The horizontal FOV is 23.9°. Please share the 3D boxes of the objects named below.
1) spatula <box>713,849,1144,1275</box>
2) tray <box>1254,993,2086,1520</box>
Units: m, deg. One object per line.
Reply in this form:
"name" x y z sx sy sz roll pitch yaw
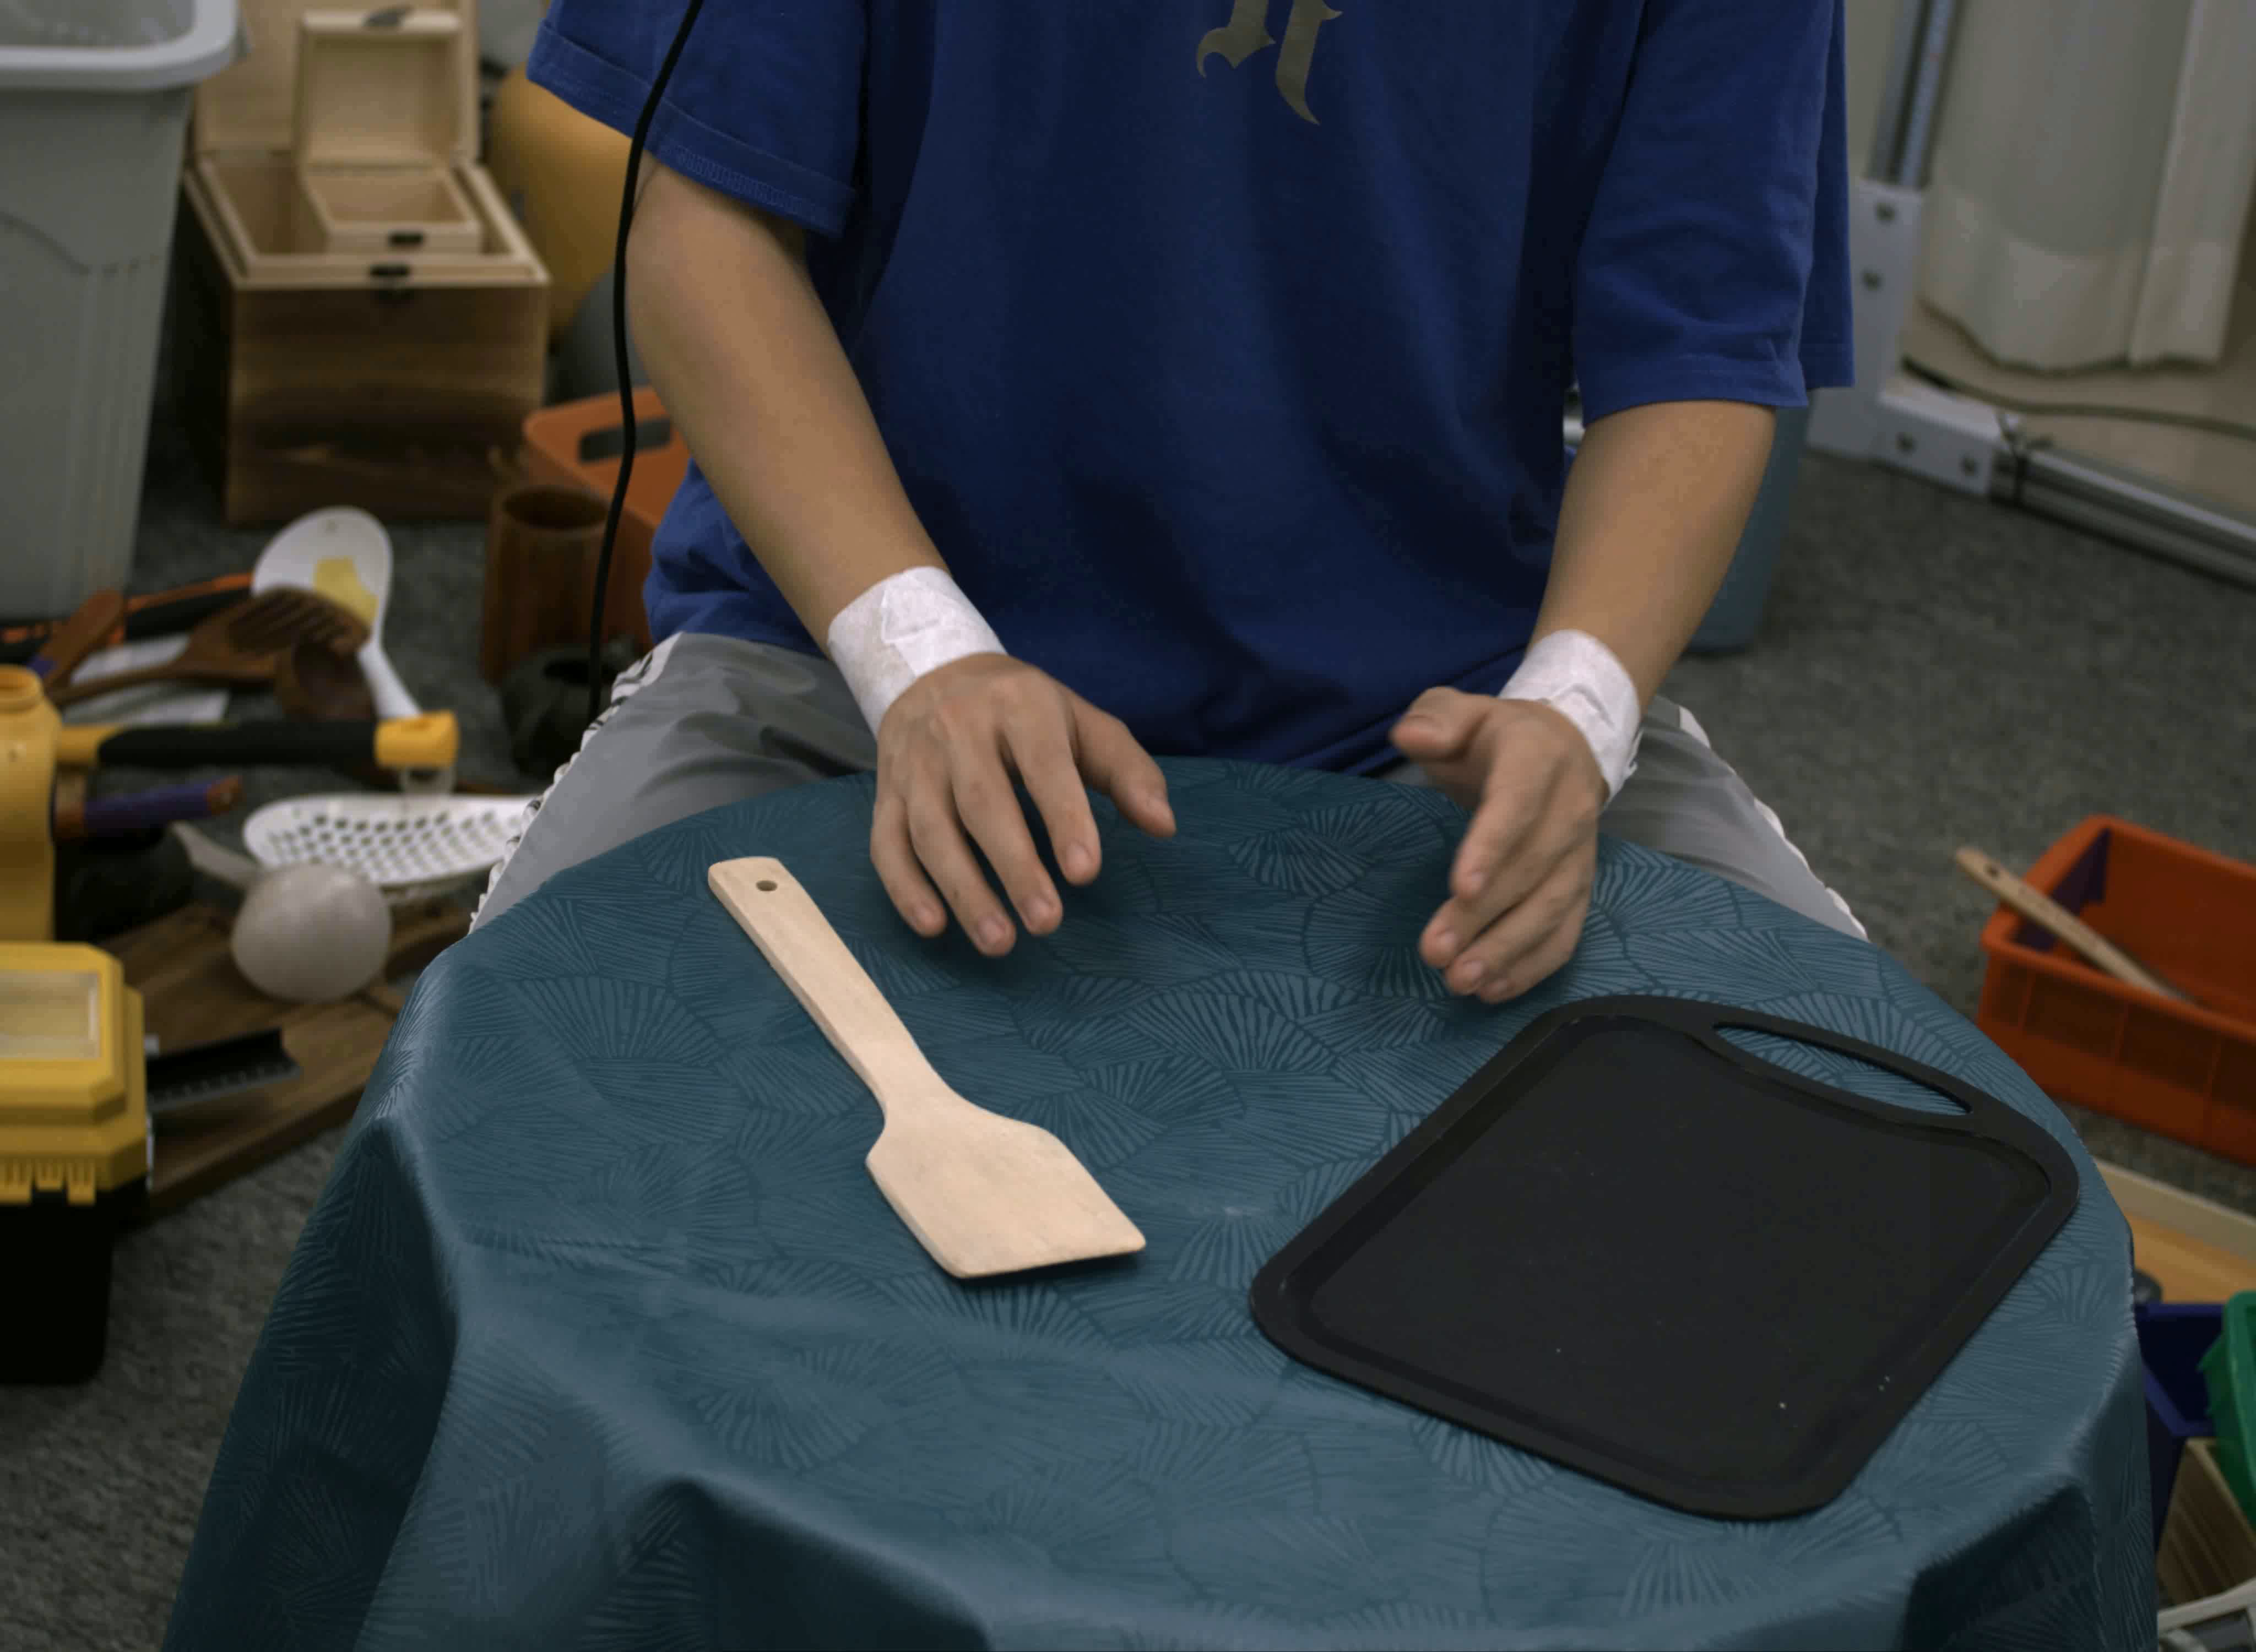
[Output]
"spatula" -0.085 0.078 1.863 0.072 0.010 0.296 -8 30 -23
"tray" 0.193 0.135 1.817 0.212 0.010 0.325 20 30 24
